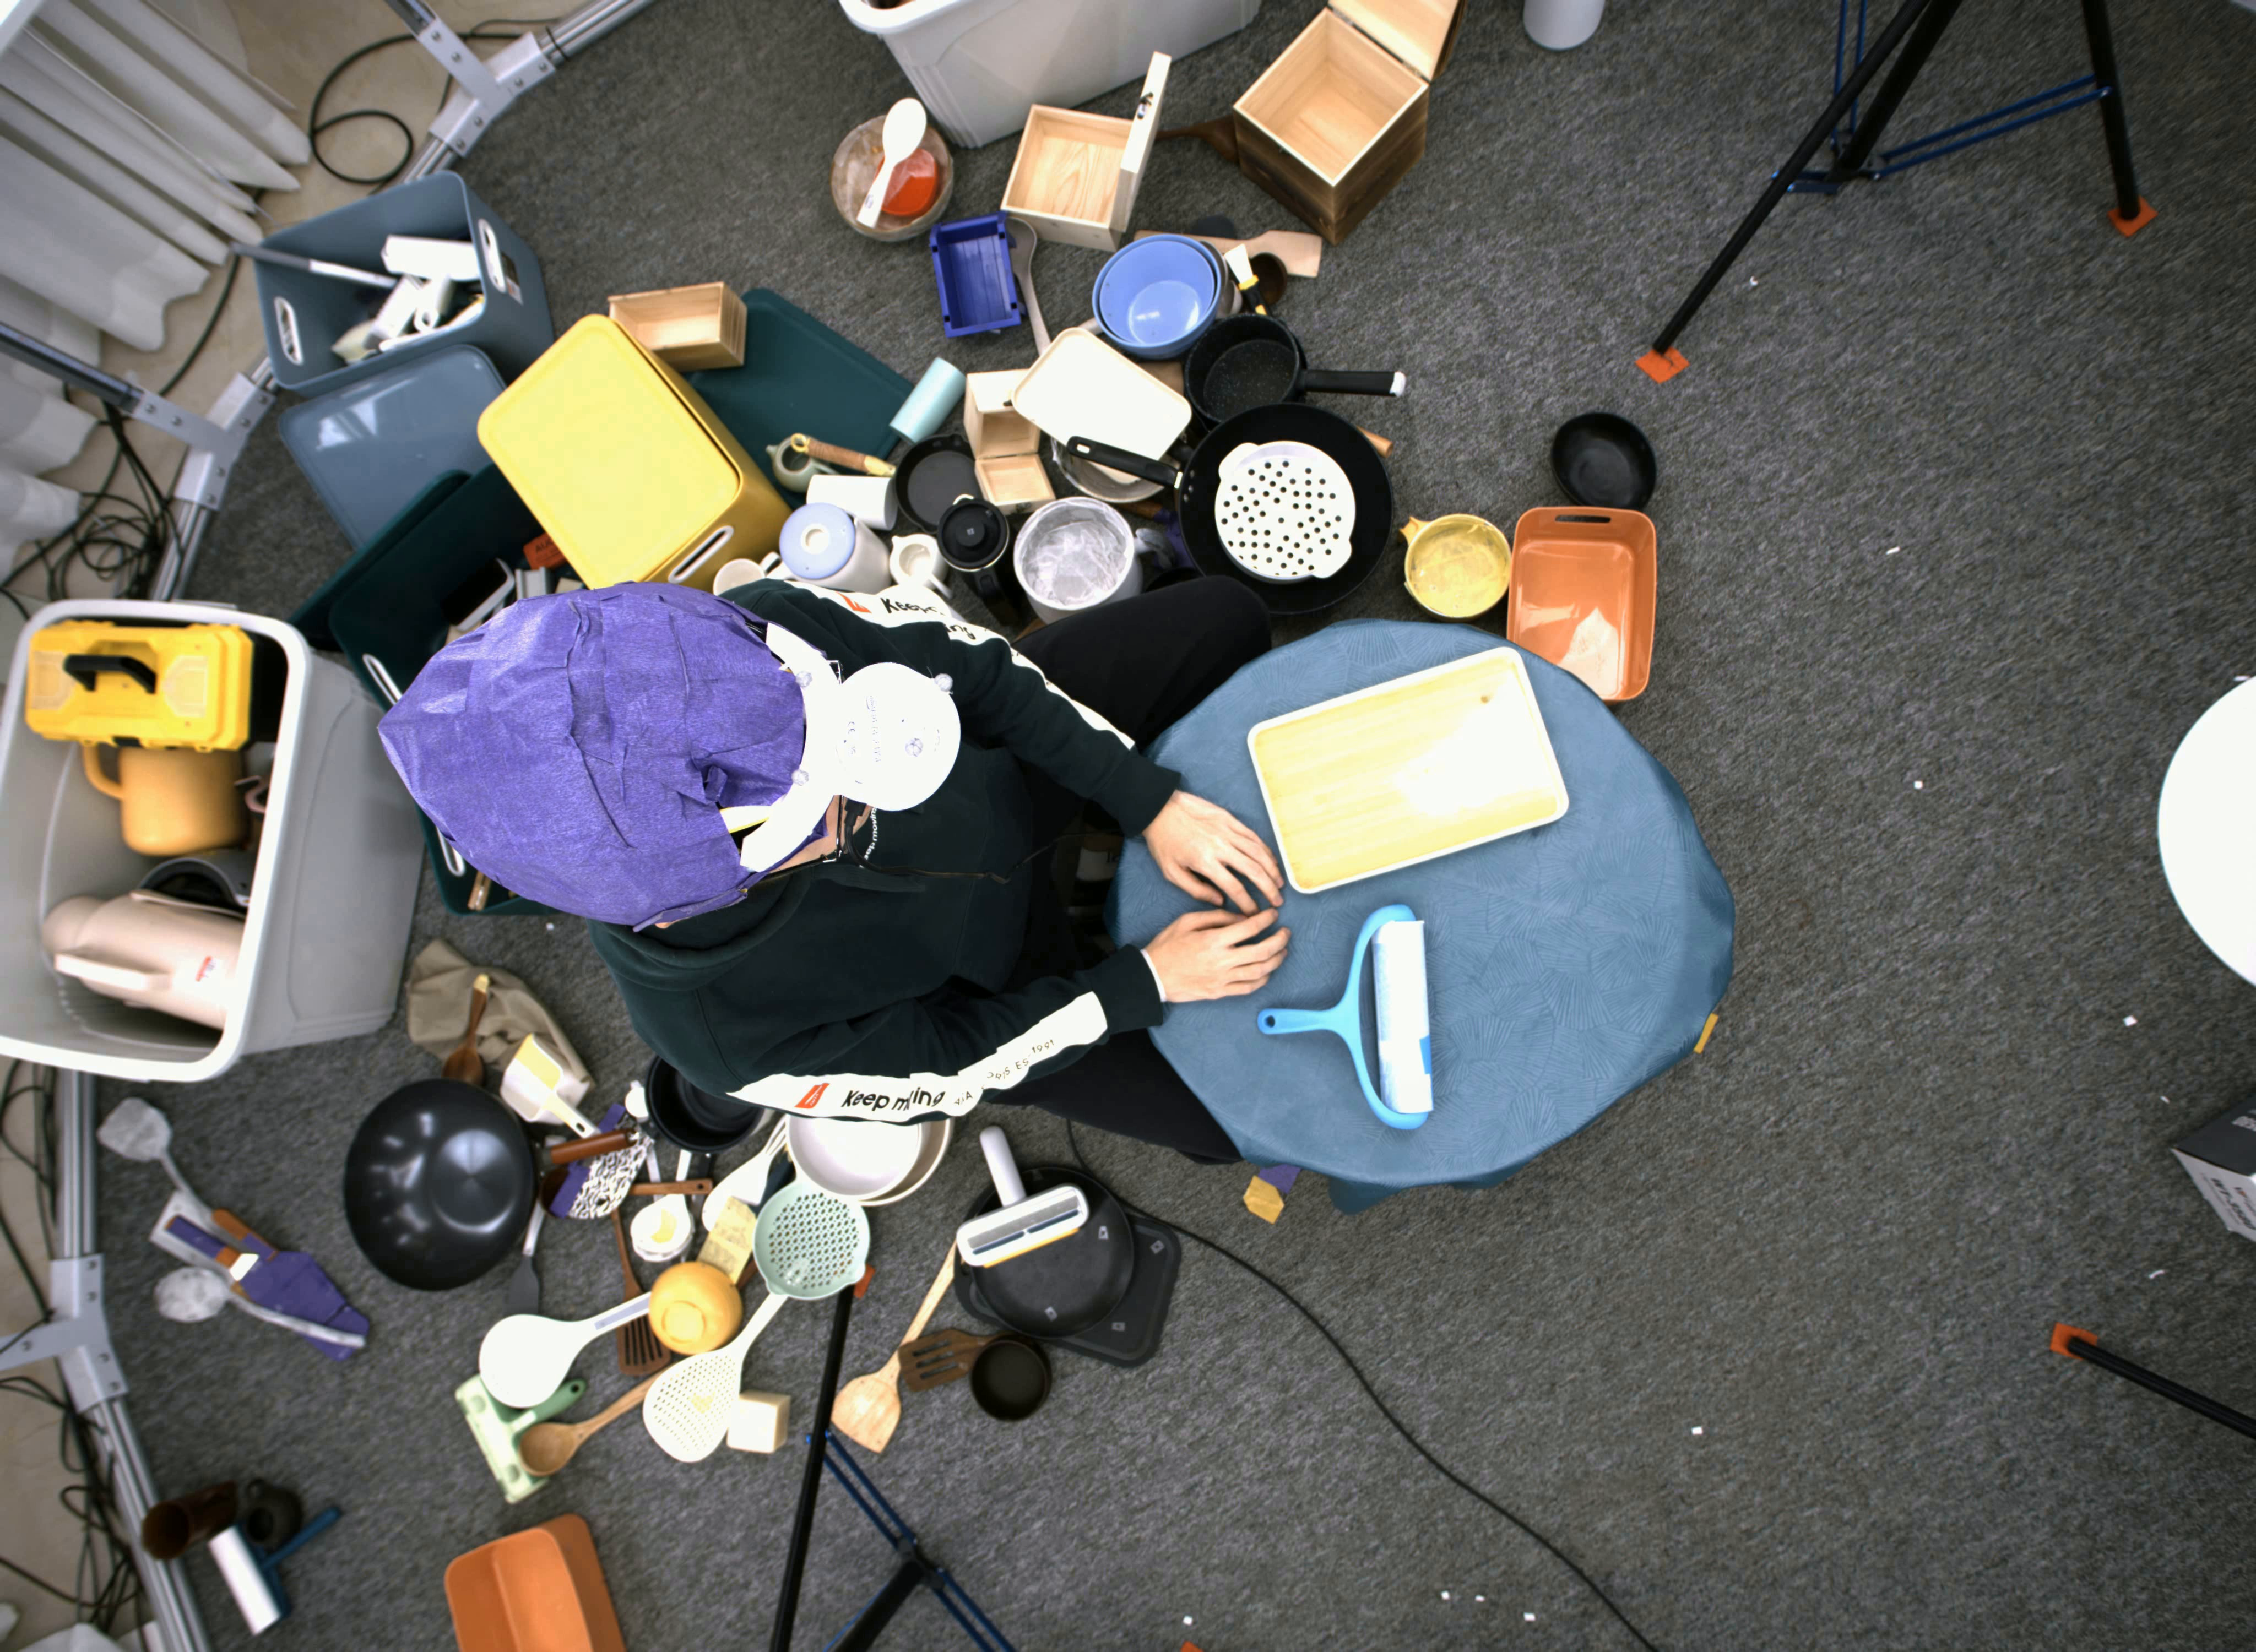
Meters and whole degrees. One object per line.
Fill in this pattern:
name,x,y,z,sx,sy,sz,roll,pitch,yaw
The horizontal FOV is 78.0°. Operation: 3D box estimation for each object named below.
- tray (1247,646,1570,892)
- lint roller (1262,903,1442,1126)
tray,0.291,-0.060,1.445,0.302,0.027,0.190,-17,84,9
lint roller,0.227,0.200,1.429,0.181,0.068,0.228,-8,88,9
